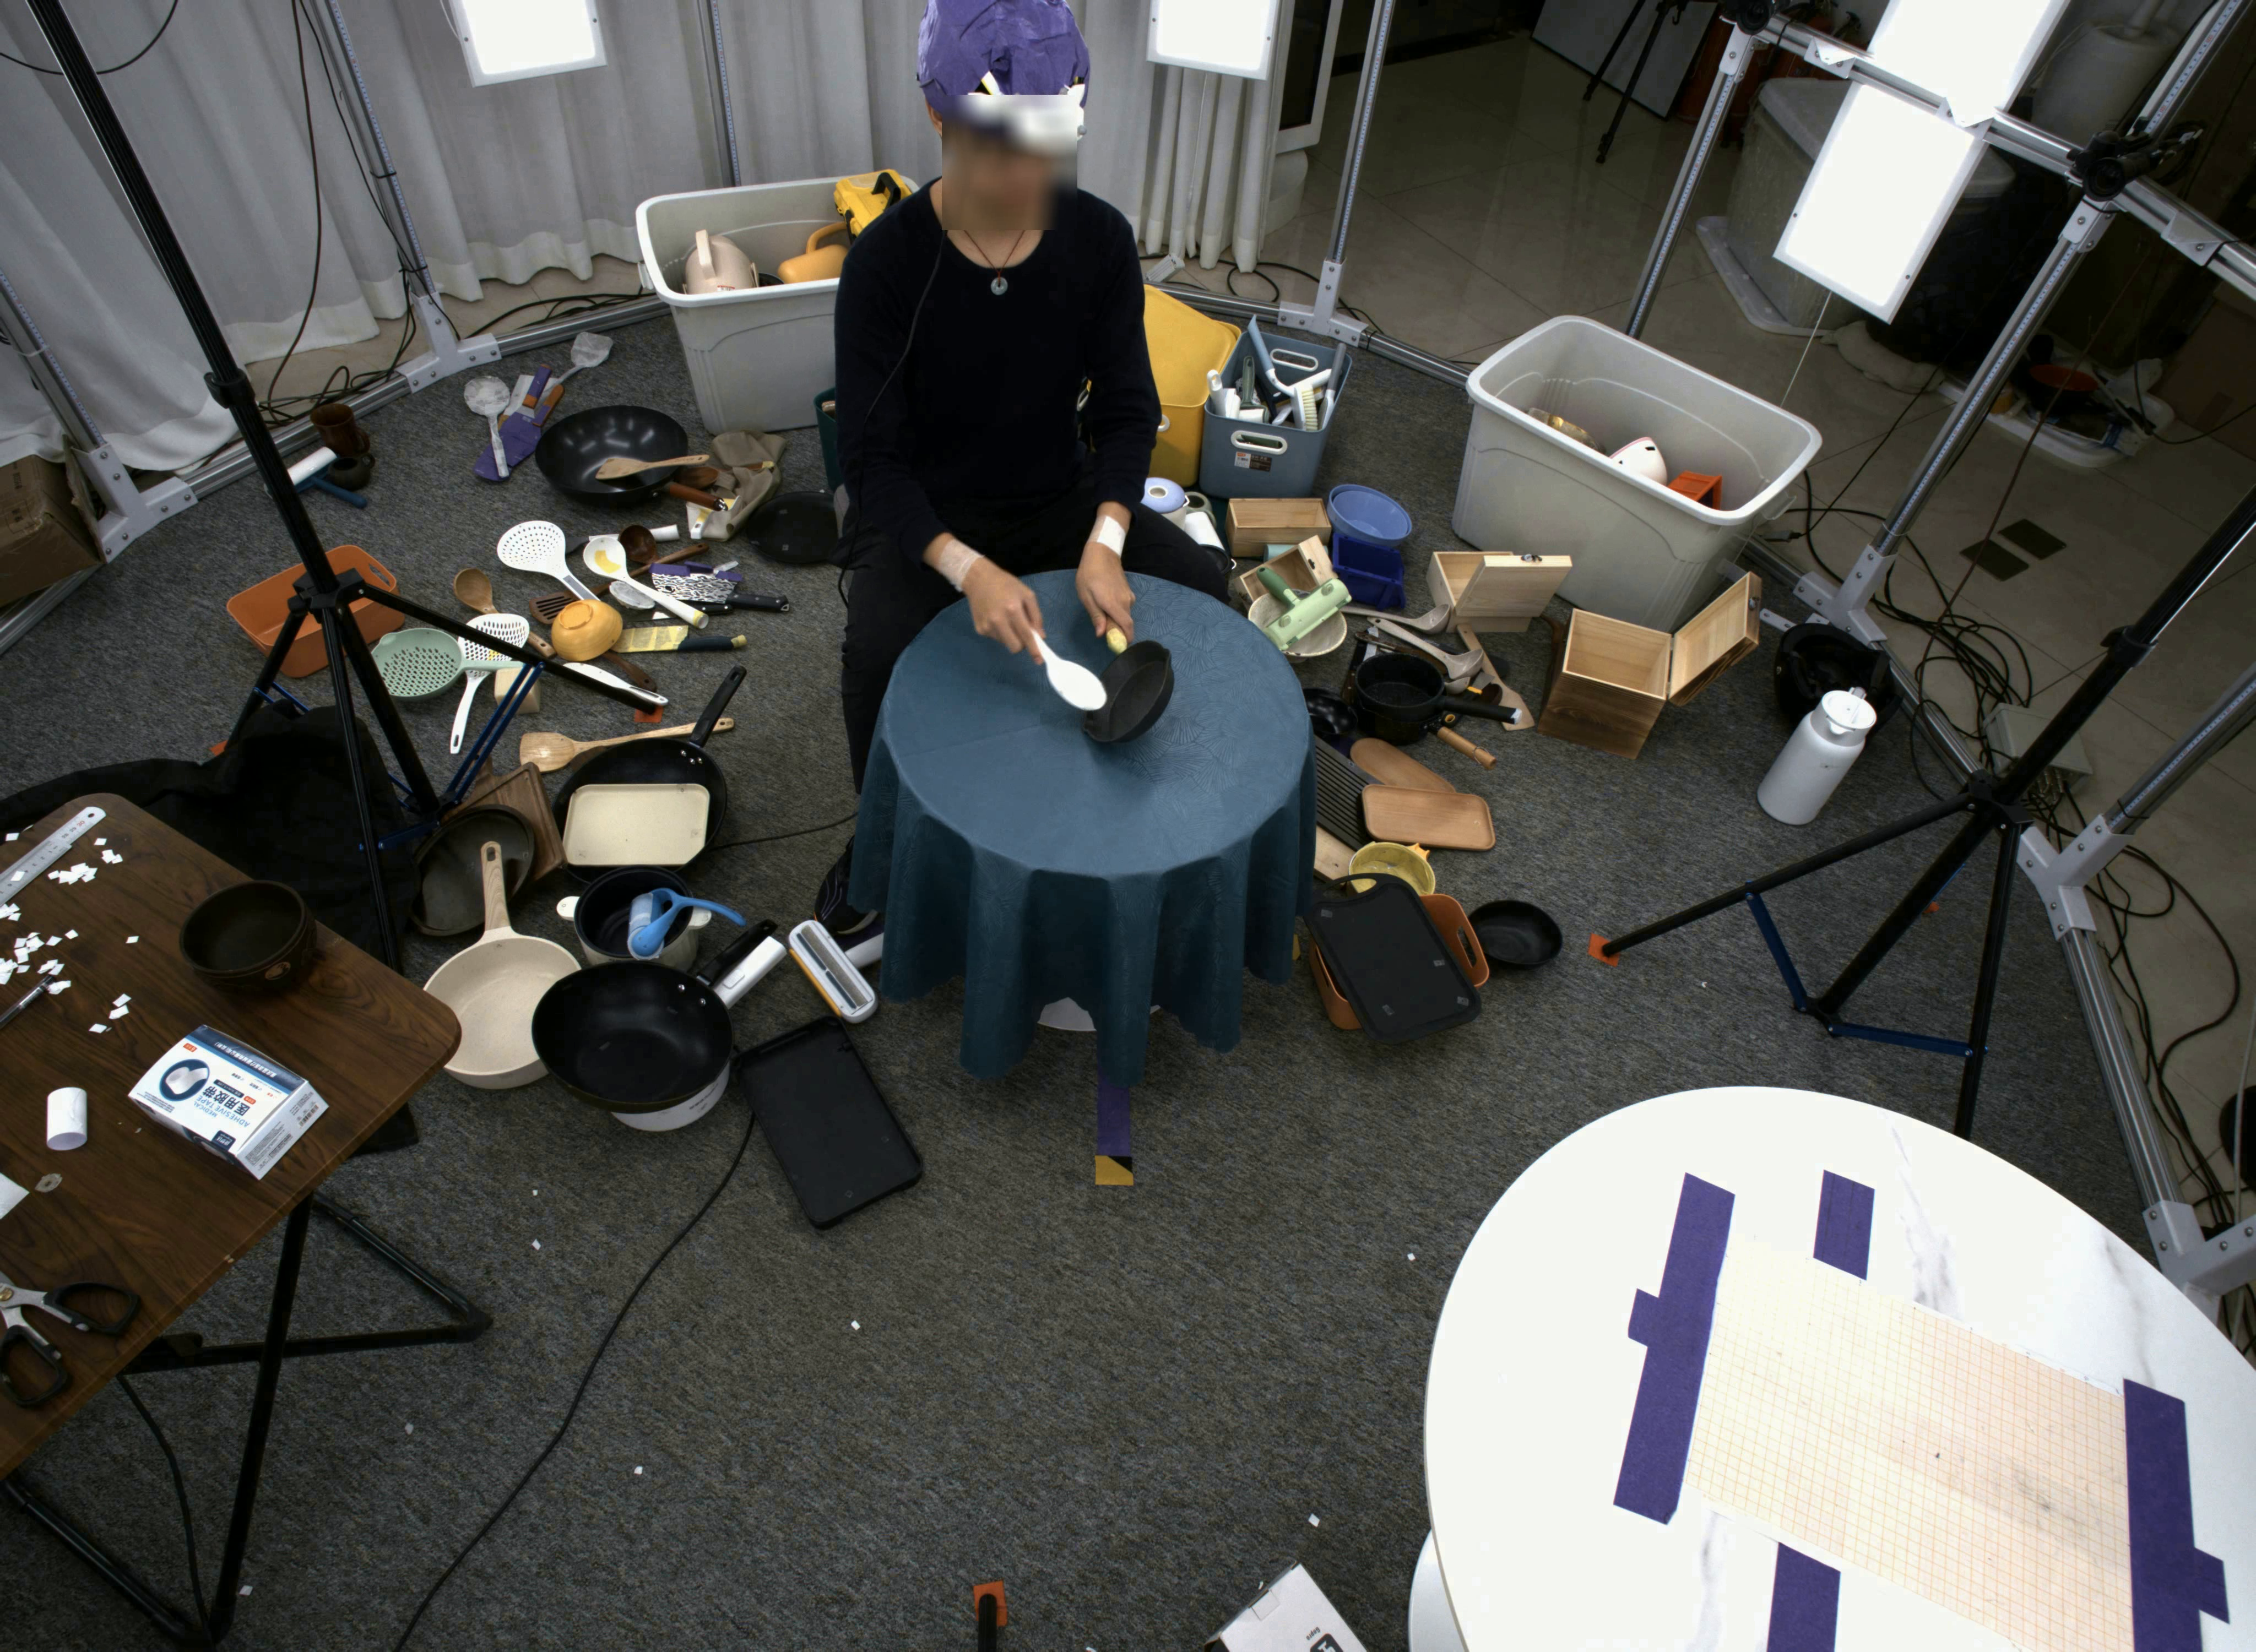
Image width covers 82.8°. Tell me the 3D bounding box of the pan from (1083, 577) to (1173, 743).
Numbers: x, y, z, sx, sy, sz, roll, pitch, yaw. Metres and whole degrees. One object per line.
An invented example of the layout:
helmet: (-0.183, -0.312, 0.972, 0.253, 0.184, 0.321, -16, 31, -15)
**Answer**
pan: (-0.008, -0.242, 1.806, 0.049, 0.167, 0.332, 31, 33, -34)

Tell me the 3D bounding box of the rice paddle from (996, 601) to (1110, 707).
rice paddle: (-0.102, -0.236, 1.781, 0.207, 0.029, 0.069, 44, 48, 16)
